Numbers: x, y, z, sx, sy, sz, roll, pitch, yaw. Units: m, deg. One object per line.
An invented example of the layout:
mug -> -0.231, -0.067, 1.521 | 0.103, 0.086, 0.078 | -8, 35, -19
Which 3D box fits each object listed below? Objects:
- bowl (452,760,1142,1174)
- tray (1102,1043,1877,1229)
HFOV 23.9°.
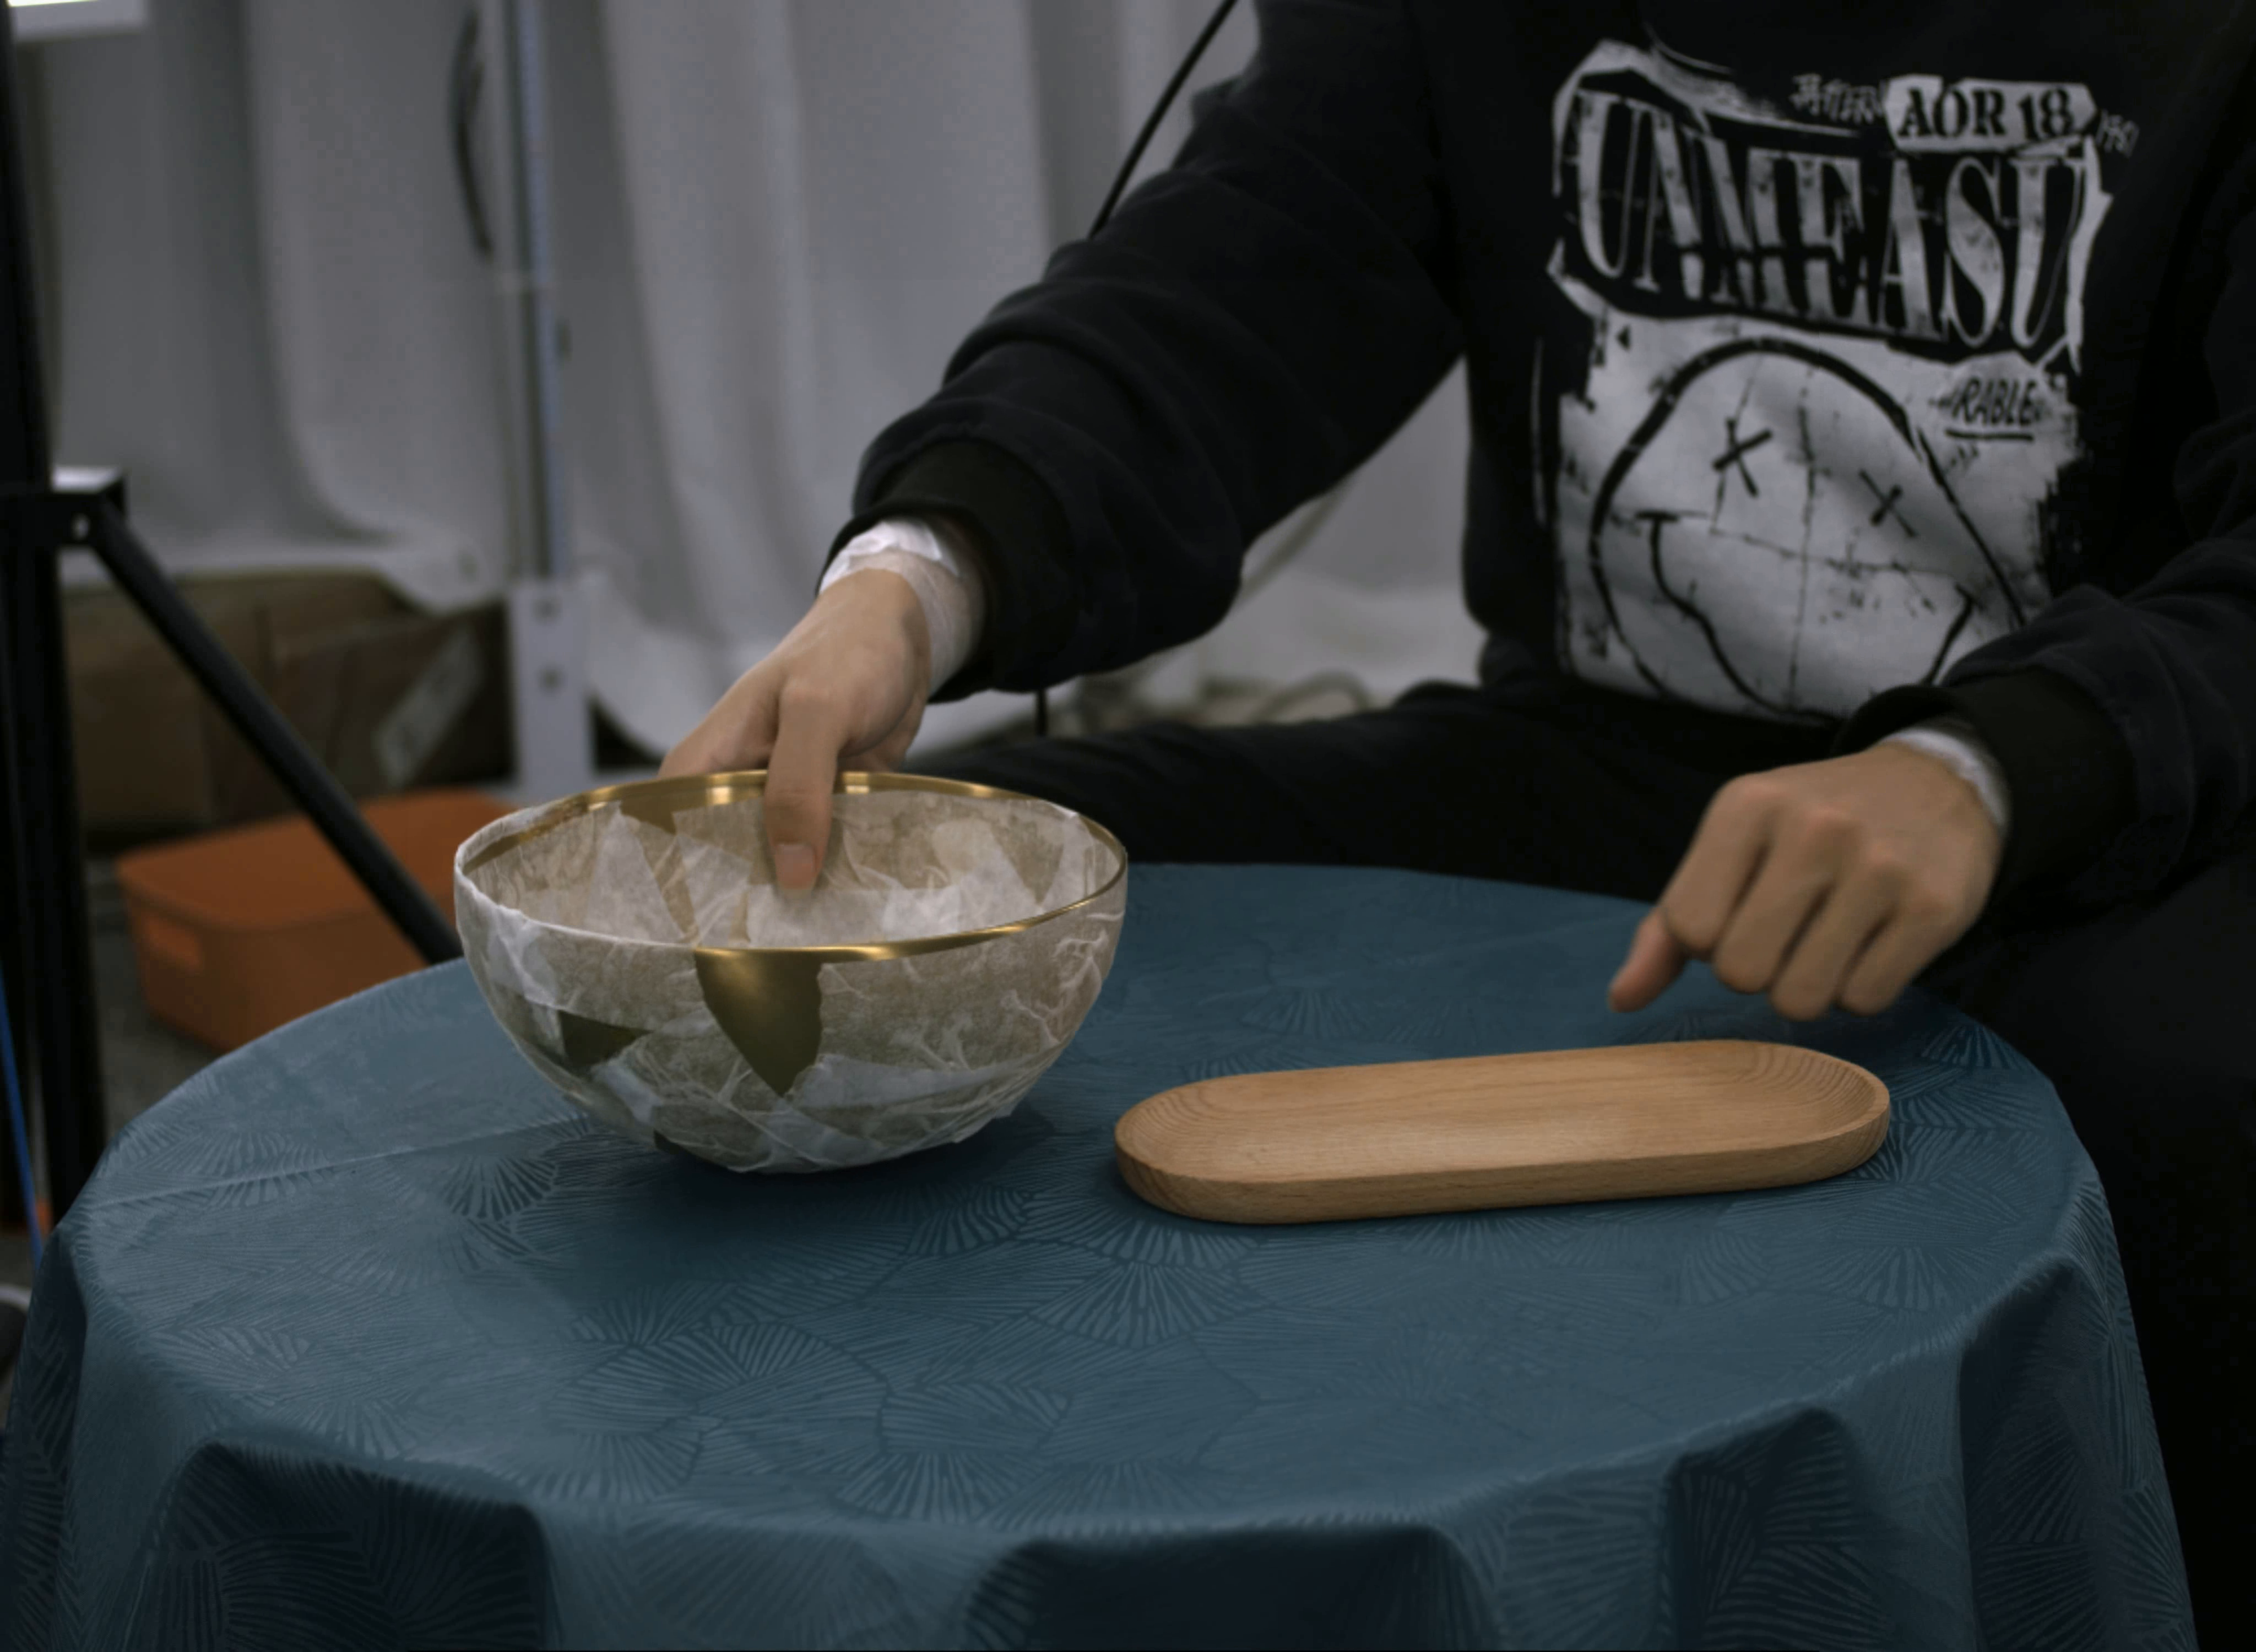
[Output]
bowl -> -0.097, 0.051, 1.604 | 0.213, 0.094, 0.216 | -1, 15, -1
tray -> 0.108, 0.092, 1.567 | 0.229, 0.020, 0.102 | -6, 14, -4
